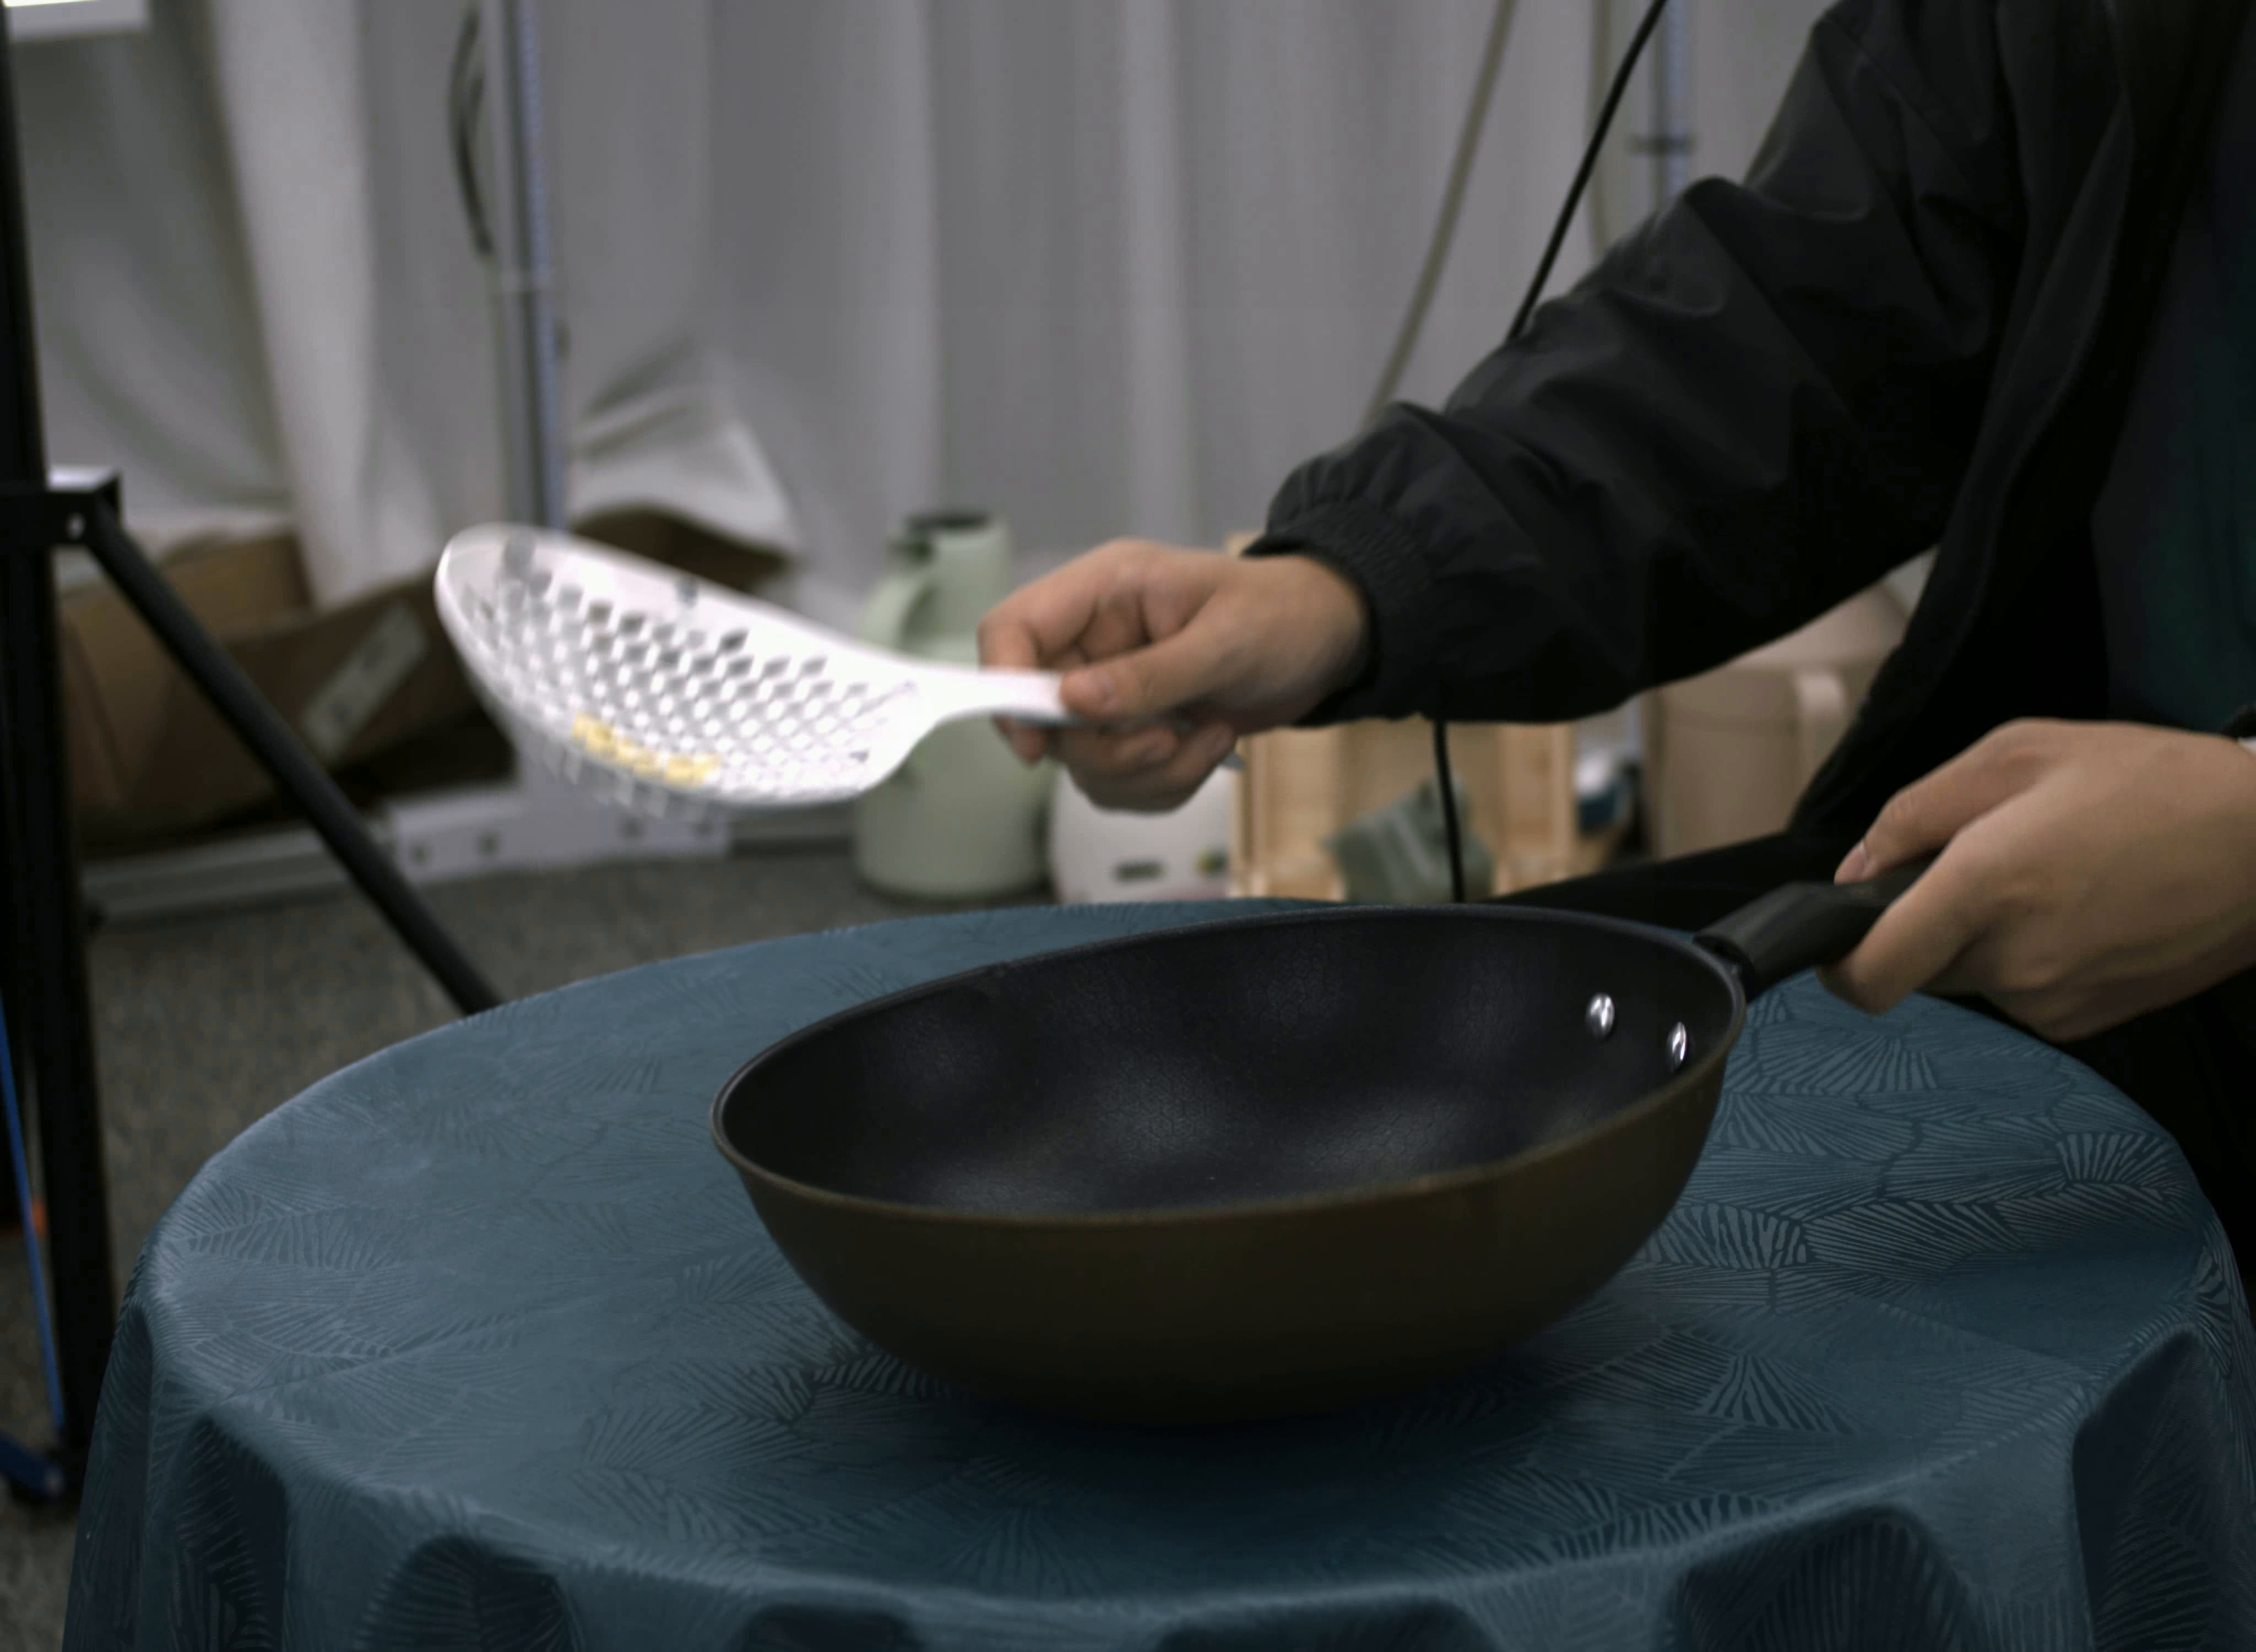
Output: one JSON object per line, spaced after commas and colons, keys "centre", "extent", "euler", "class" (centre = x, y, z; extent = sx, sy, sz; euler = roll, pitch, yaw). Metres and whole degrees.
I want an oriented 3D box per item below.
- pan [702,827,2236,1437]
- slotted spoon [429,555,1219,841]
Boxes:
{"centre": [0.110, 0.080, 1.454], "extent": [0.454, 0.087, 0.294], "euler": [-12, 16, -22], "class": "pan"}
{"centre": [-0.078, -0.028, 1.691], "extent": [0.339, 0.050, 0.140], "euler": [-2, 36, -44], "class": "slotted spoon"}
